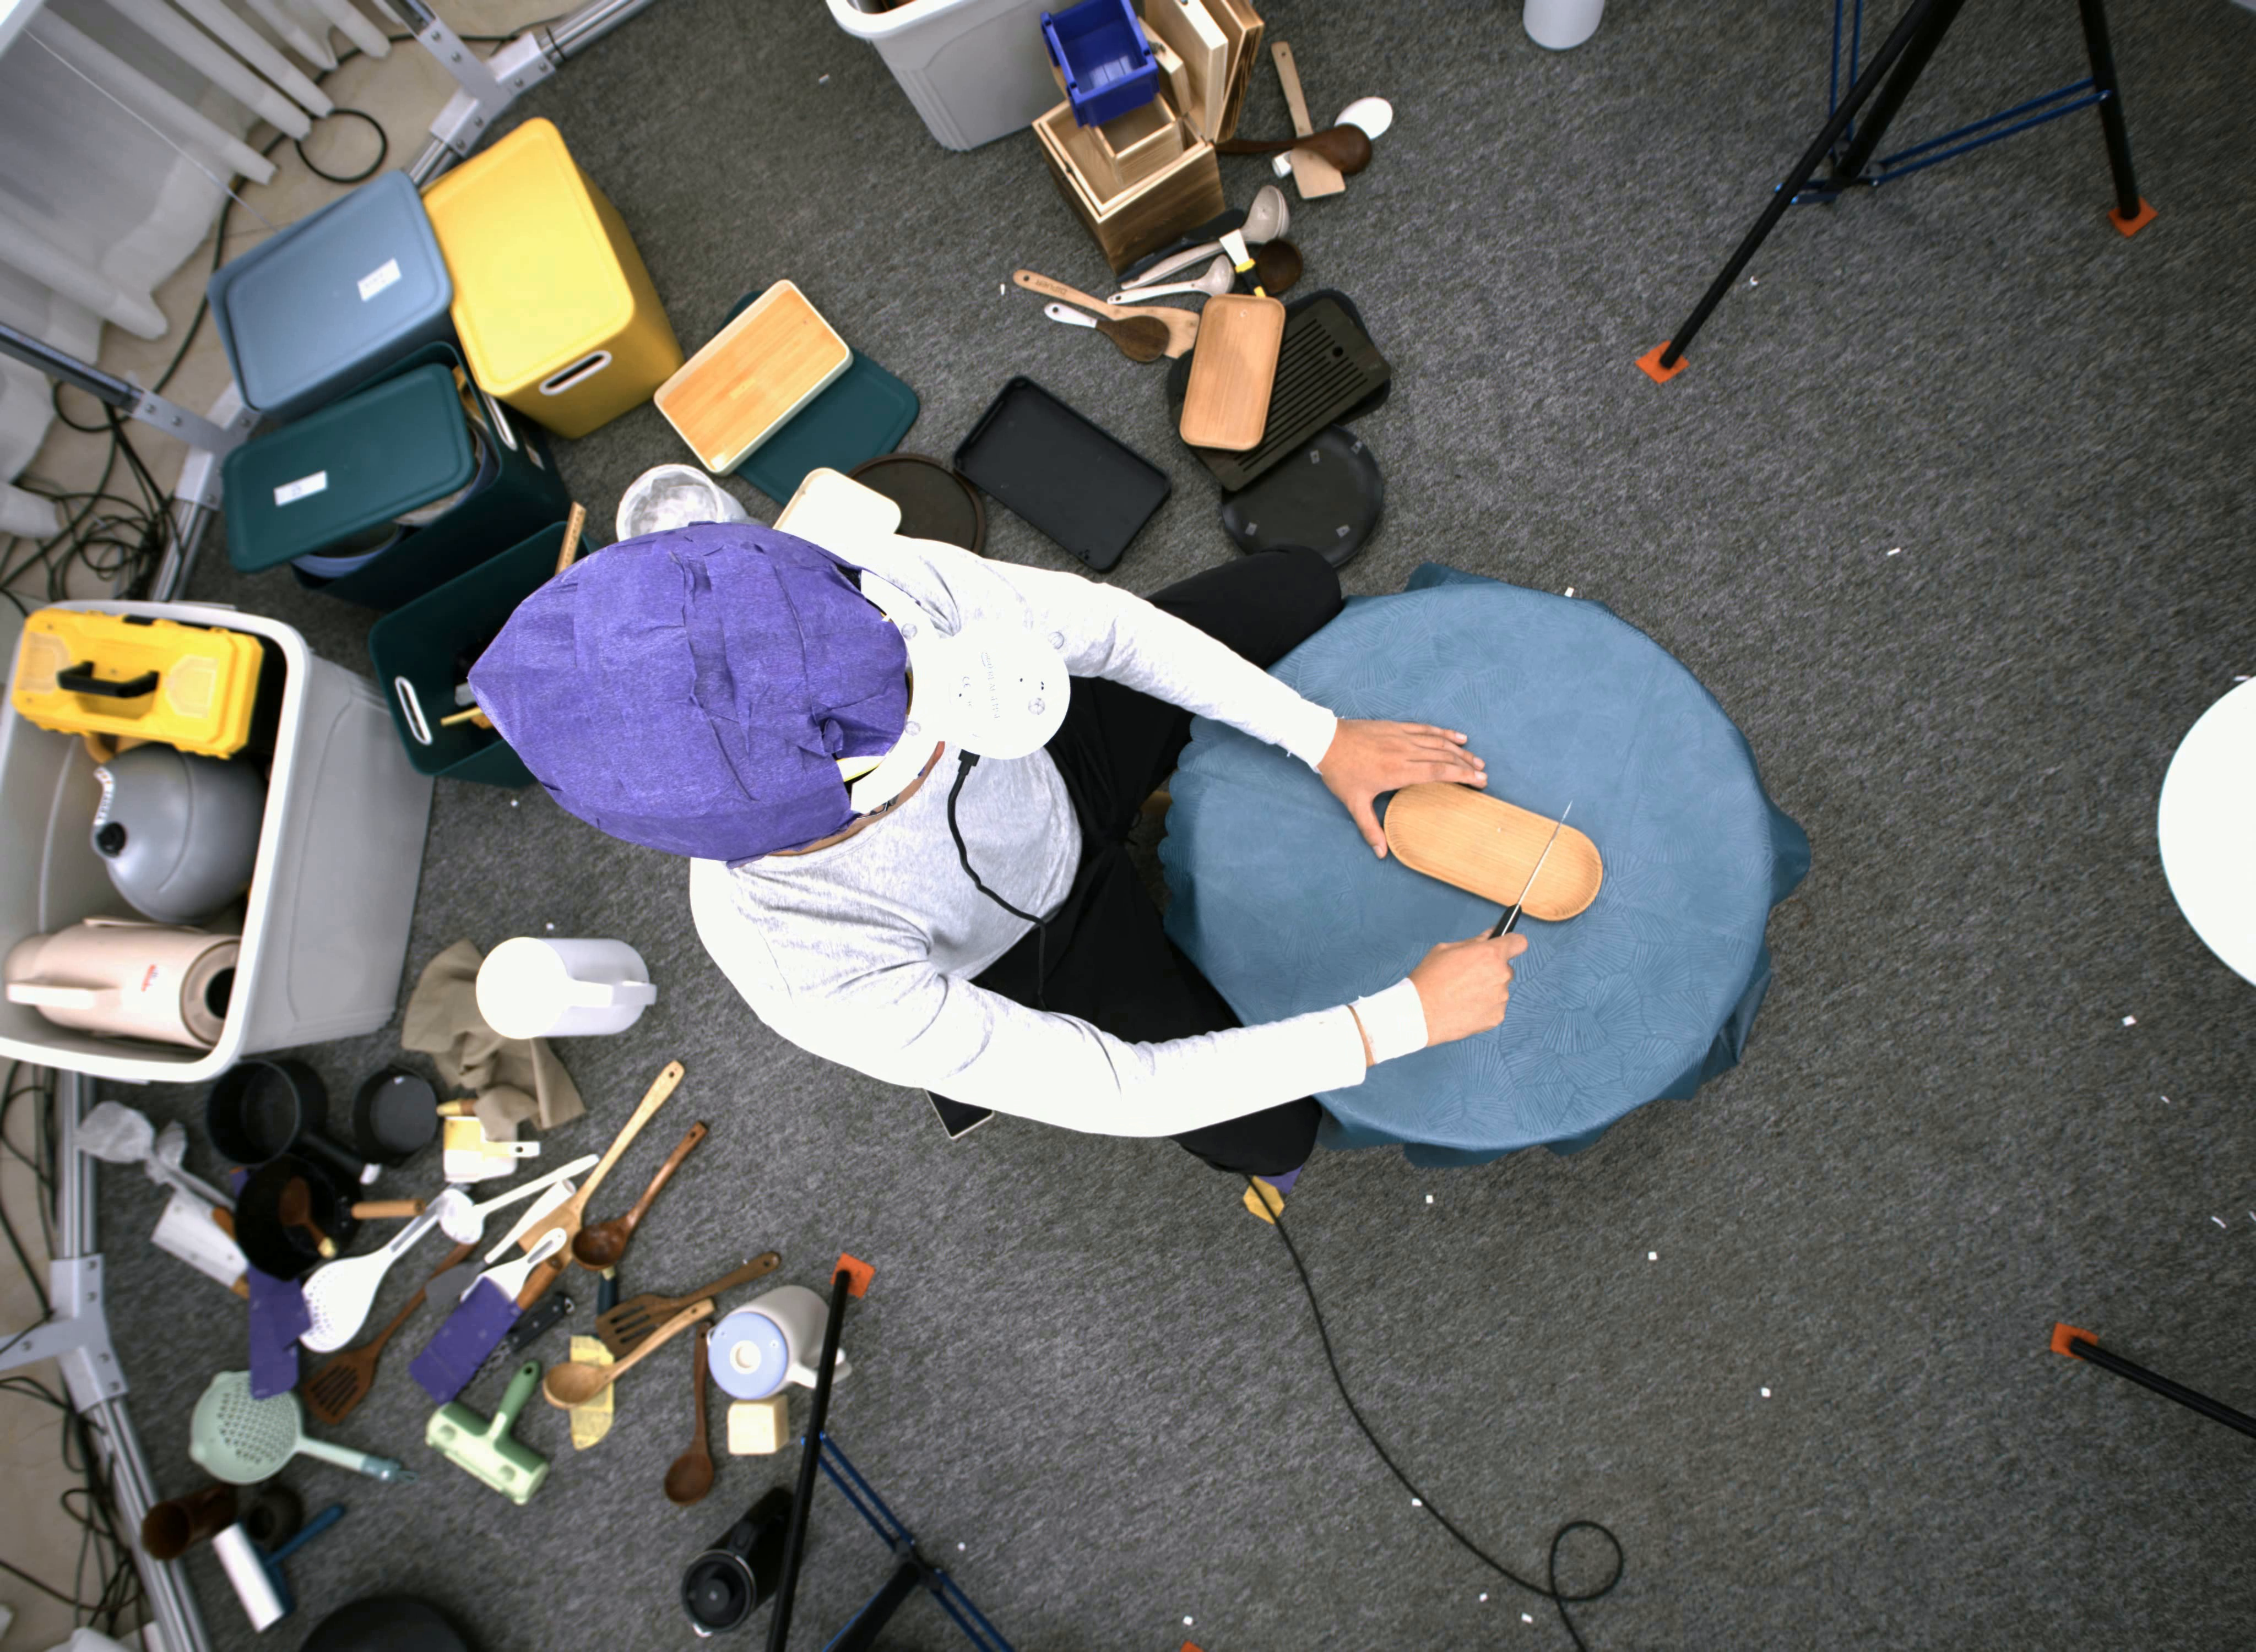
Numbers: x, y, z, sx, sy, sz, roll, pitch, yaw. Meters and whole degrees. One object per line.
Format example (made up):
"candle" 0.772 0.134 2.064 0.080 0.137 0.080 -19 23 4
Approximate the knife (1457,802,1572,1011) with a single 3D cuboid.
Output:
"knife" 0.371 0.069 1.304 0.016 0.025 0.235 29 76 13

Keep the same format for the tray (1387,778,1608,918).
"tray" 0.384 0.020 1.434 0.231 0.020 0.102 20 92 10
